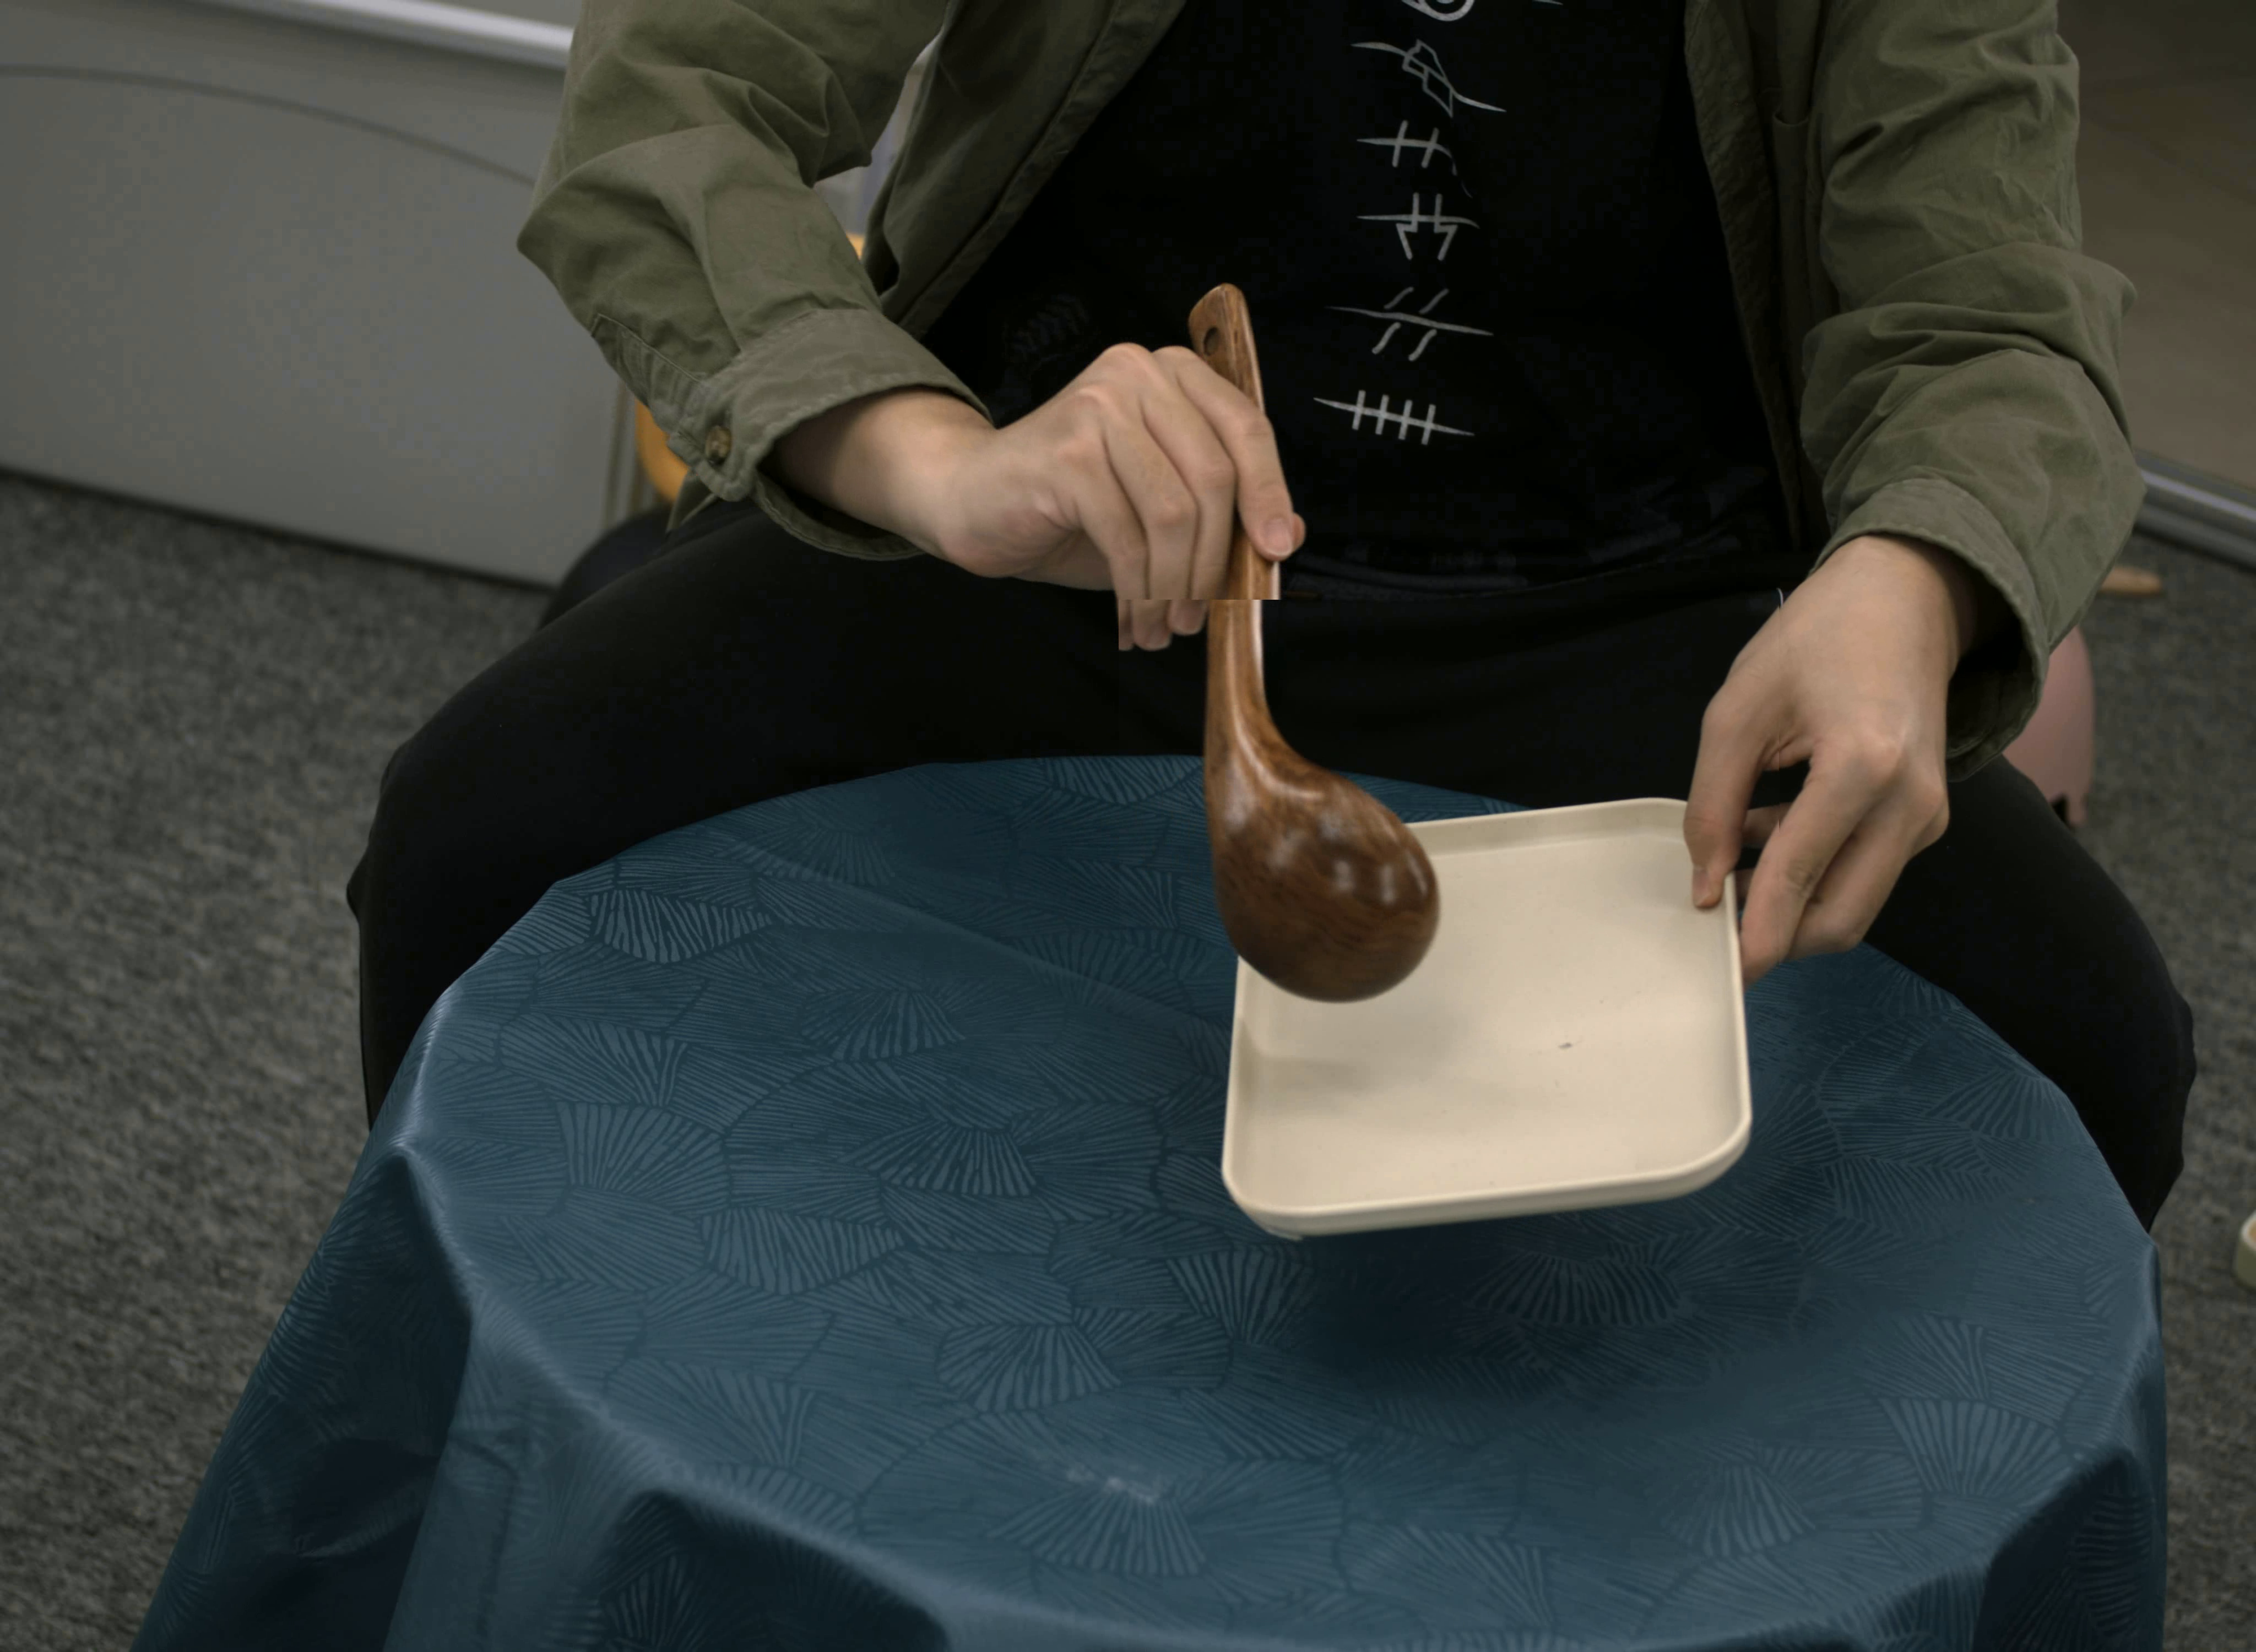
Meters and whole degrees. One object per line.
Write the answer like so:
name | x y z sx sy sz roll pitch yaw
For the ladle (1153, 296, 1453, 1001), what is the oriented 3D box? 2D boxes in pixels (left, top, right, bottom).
ladle | 0.057 -0.064 1.795 0.076 0.082 0.276 25 42 -33

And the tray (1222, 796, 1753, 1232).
tray | 0.119 0.061 1.762 0.171 0.017 0.241 -6 29 8
